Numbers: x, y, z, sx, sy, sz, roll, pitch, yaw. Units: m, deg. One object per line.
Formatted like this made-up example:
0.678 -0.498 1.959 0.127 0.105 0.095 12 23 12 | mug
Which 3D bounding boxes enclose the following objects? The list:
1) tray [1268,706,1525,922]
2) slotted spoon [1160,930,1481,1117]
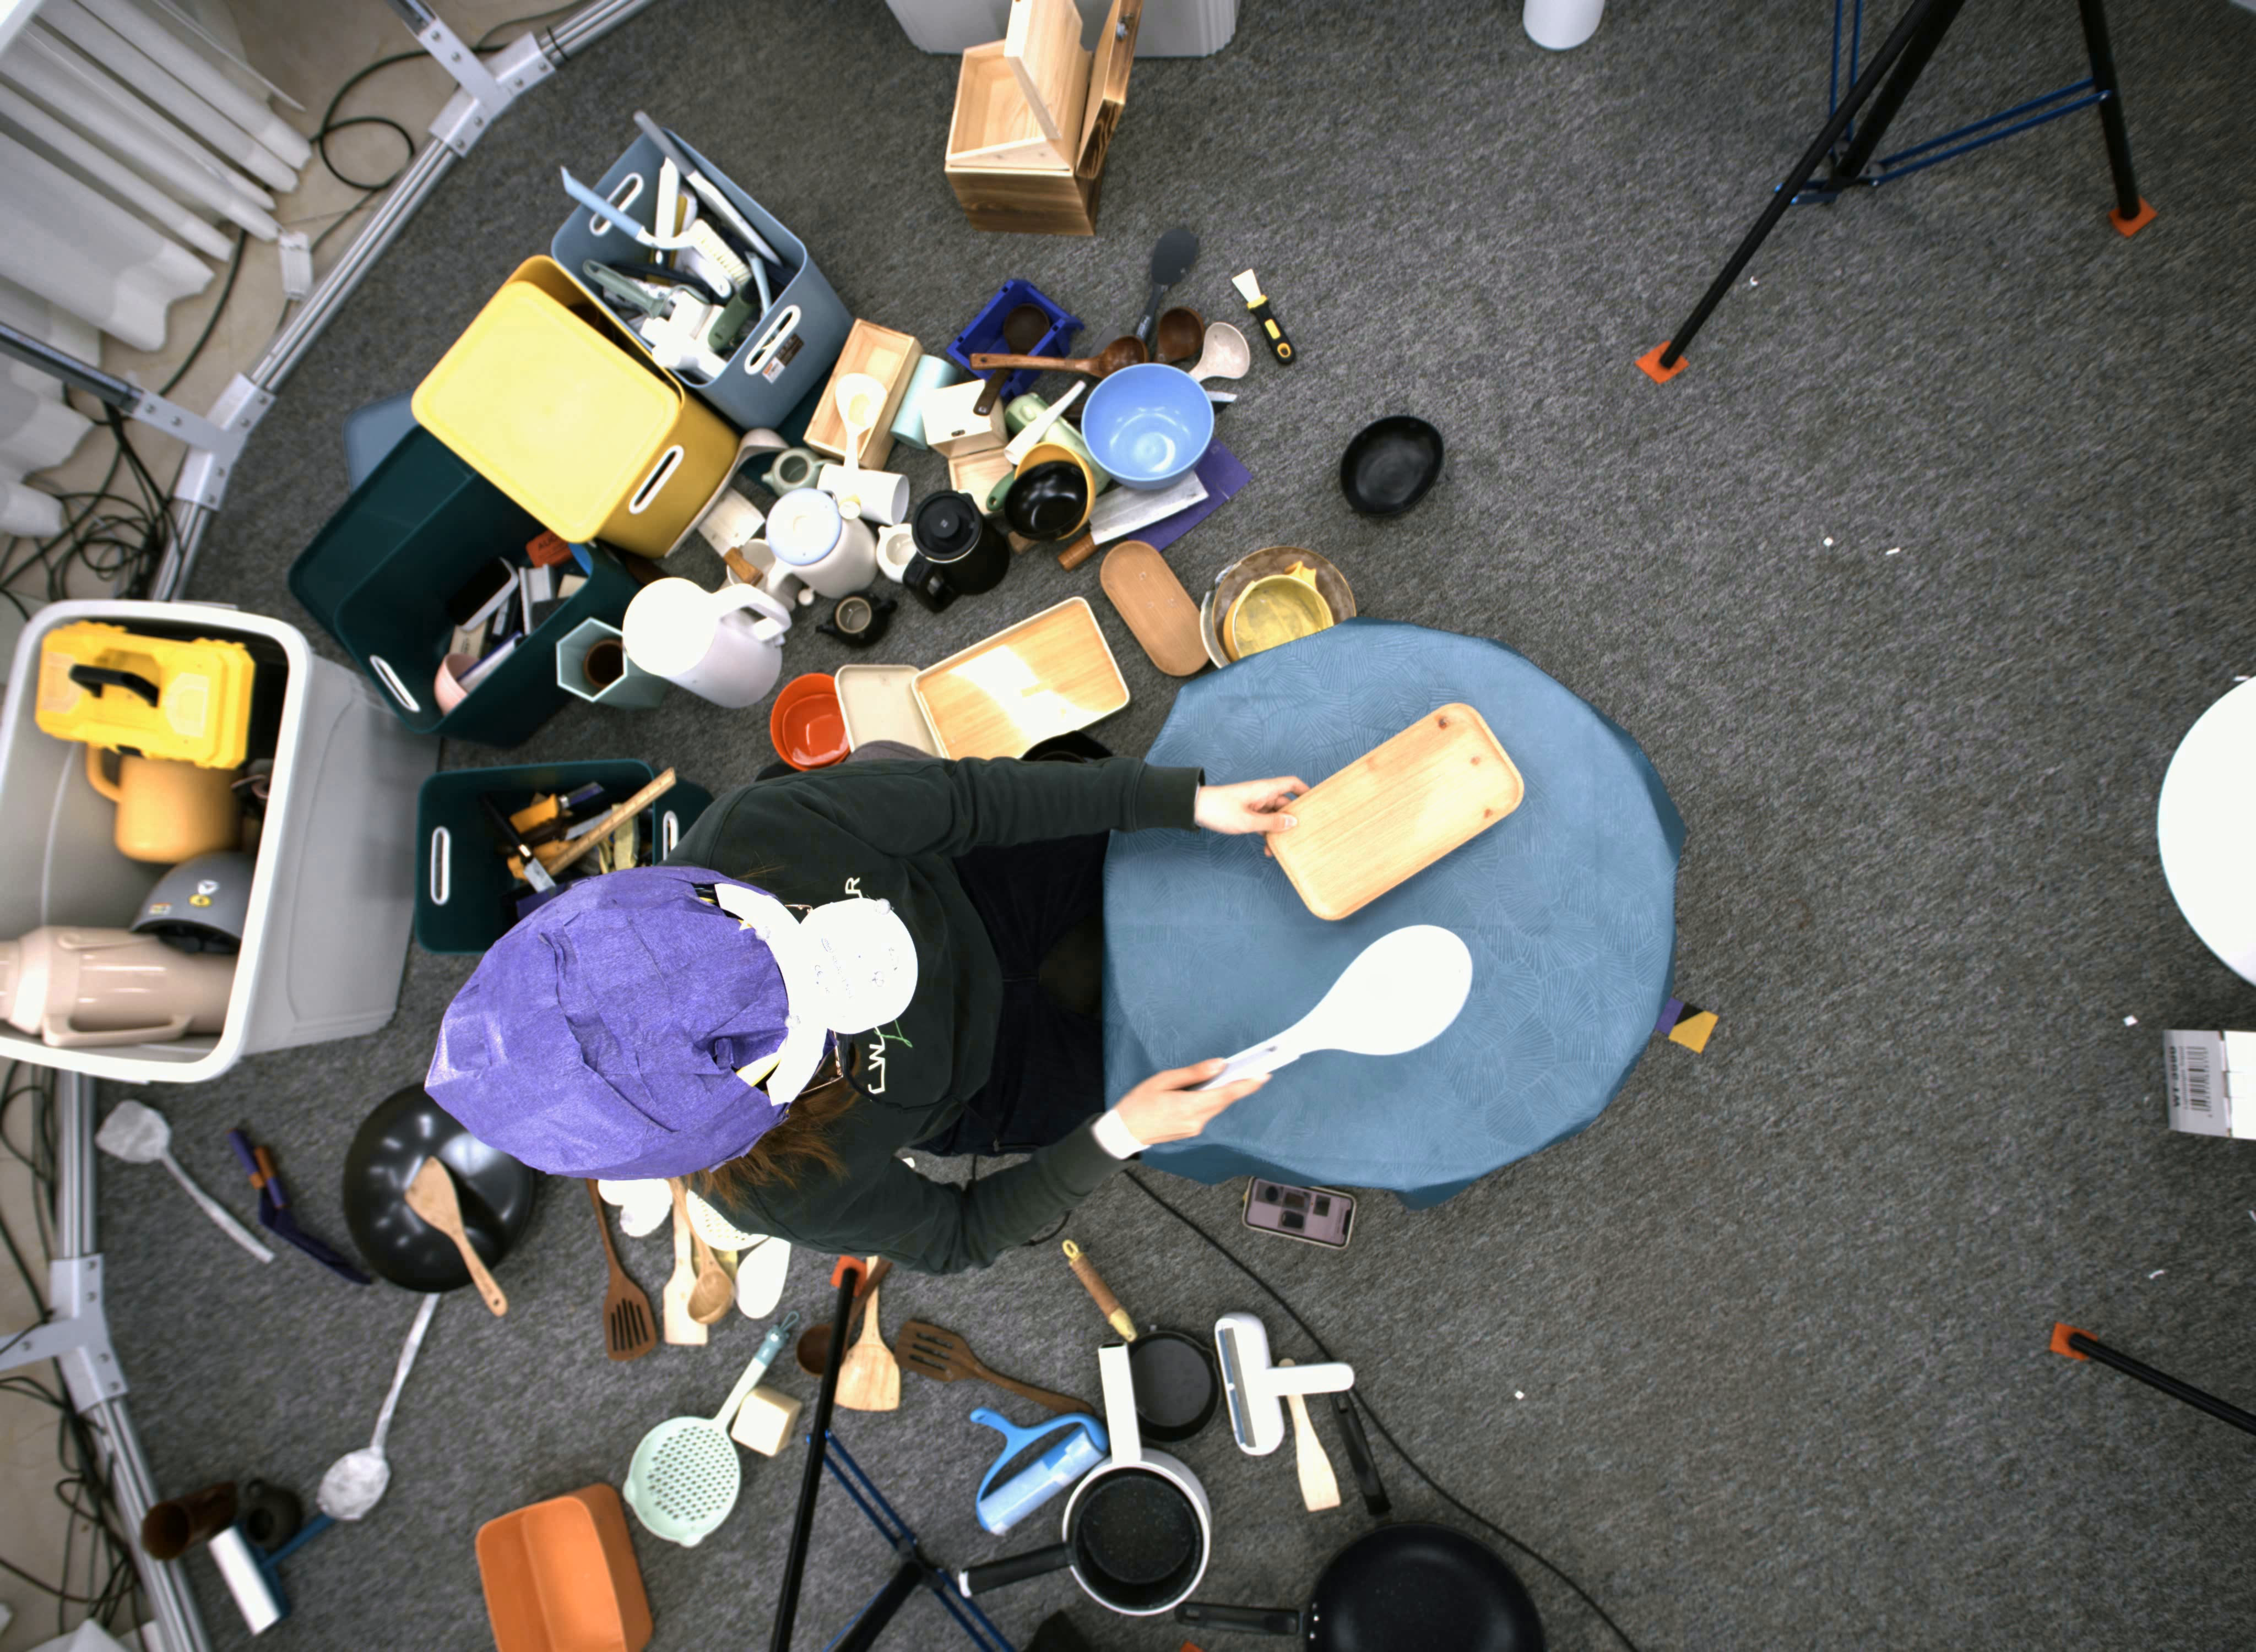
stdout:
0.270 -0.013 1.391 0.251 0.023 0.130 -32 82 4 | tray
0.176 0.202 1.309 0.354 0.046 0.132 -25 38 22 | slotted spoon
